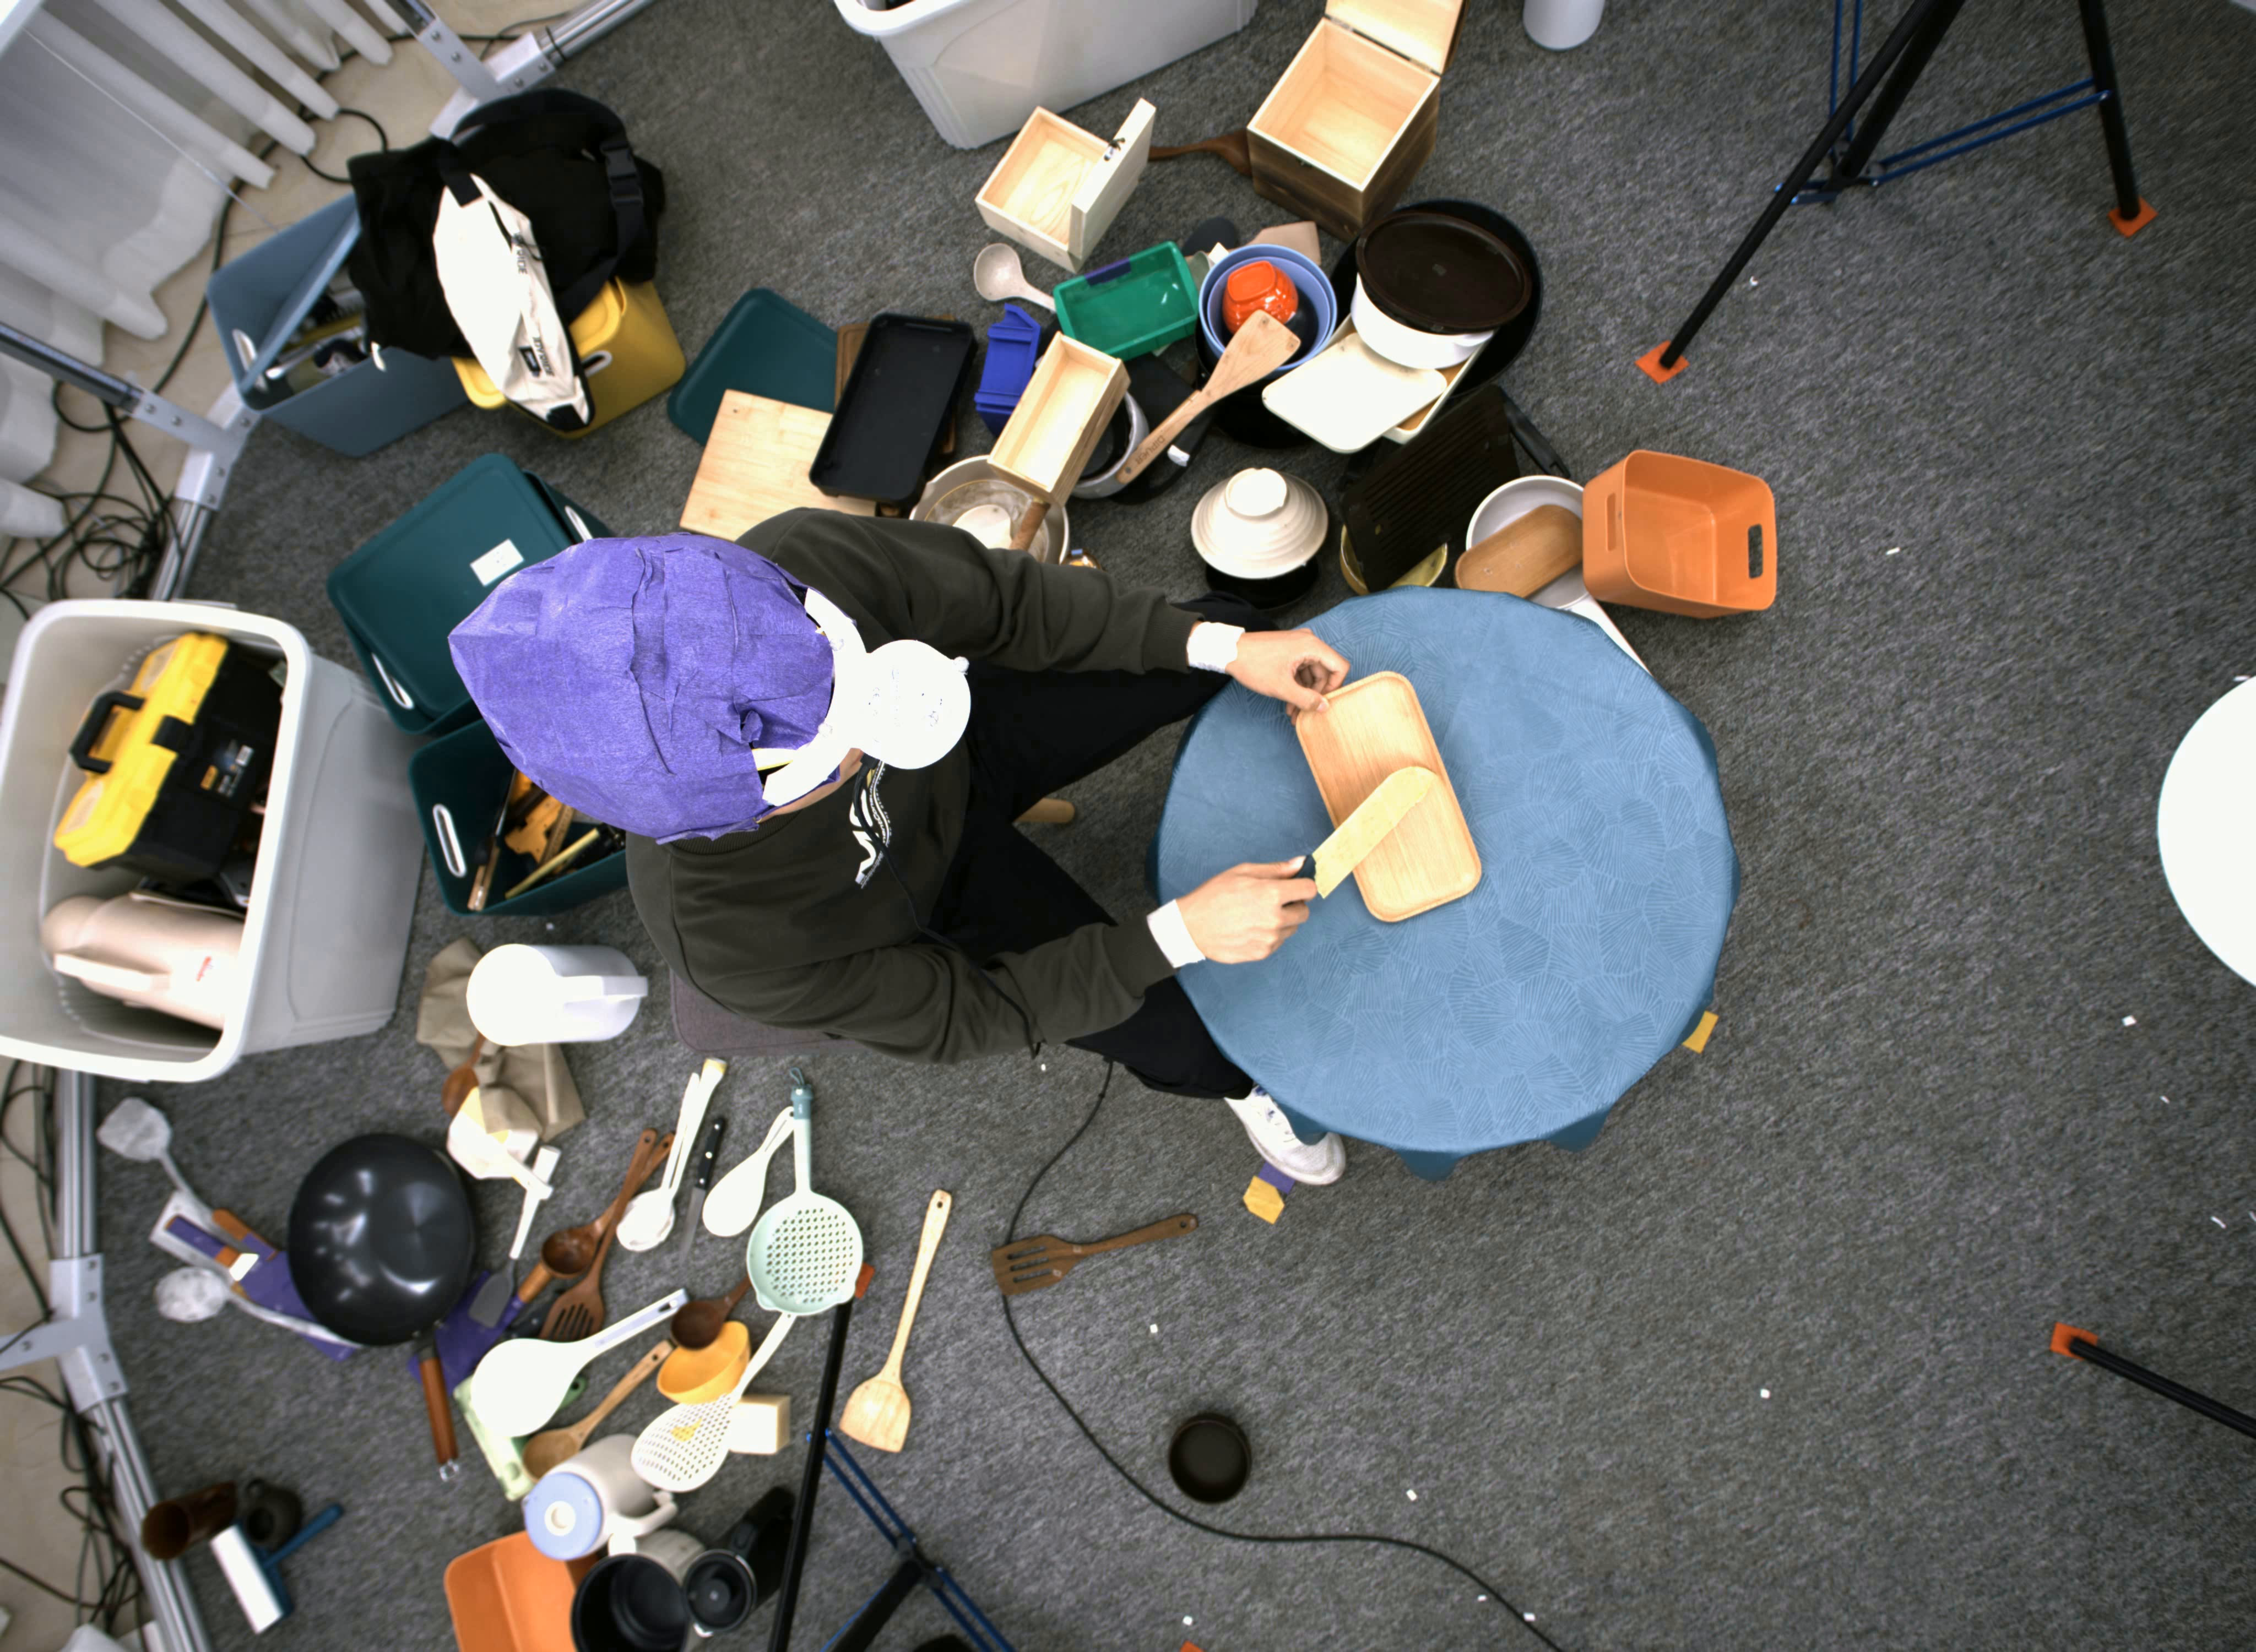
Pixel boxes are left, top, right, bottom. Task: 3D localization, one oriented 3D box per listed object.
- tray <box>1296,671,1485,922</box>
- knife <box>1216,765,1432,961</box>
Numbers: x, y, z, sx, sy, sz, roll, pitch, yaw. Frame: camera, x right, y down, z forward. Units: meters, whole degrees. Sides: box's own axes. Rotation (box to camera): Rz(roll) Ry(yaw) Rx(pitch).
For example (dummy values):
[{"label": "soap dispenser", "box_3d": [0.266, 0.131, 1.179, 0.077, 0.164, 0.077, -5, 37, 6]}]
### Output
[{"label": "tray", "box_3d": [0.271, -0.031, 1.421, 0.131, 0.022, 0.252, -22, 102, 11]}, {"label": "knife", "box_3d": [0.201, 0.037, 1.386, 0.289, 0.082, 0.027, -42, 50, -3]}]
